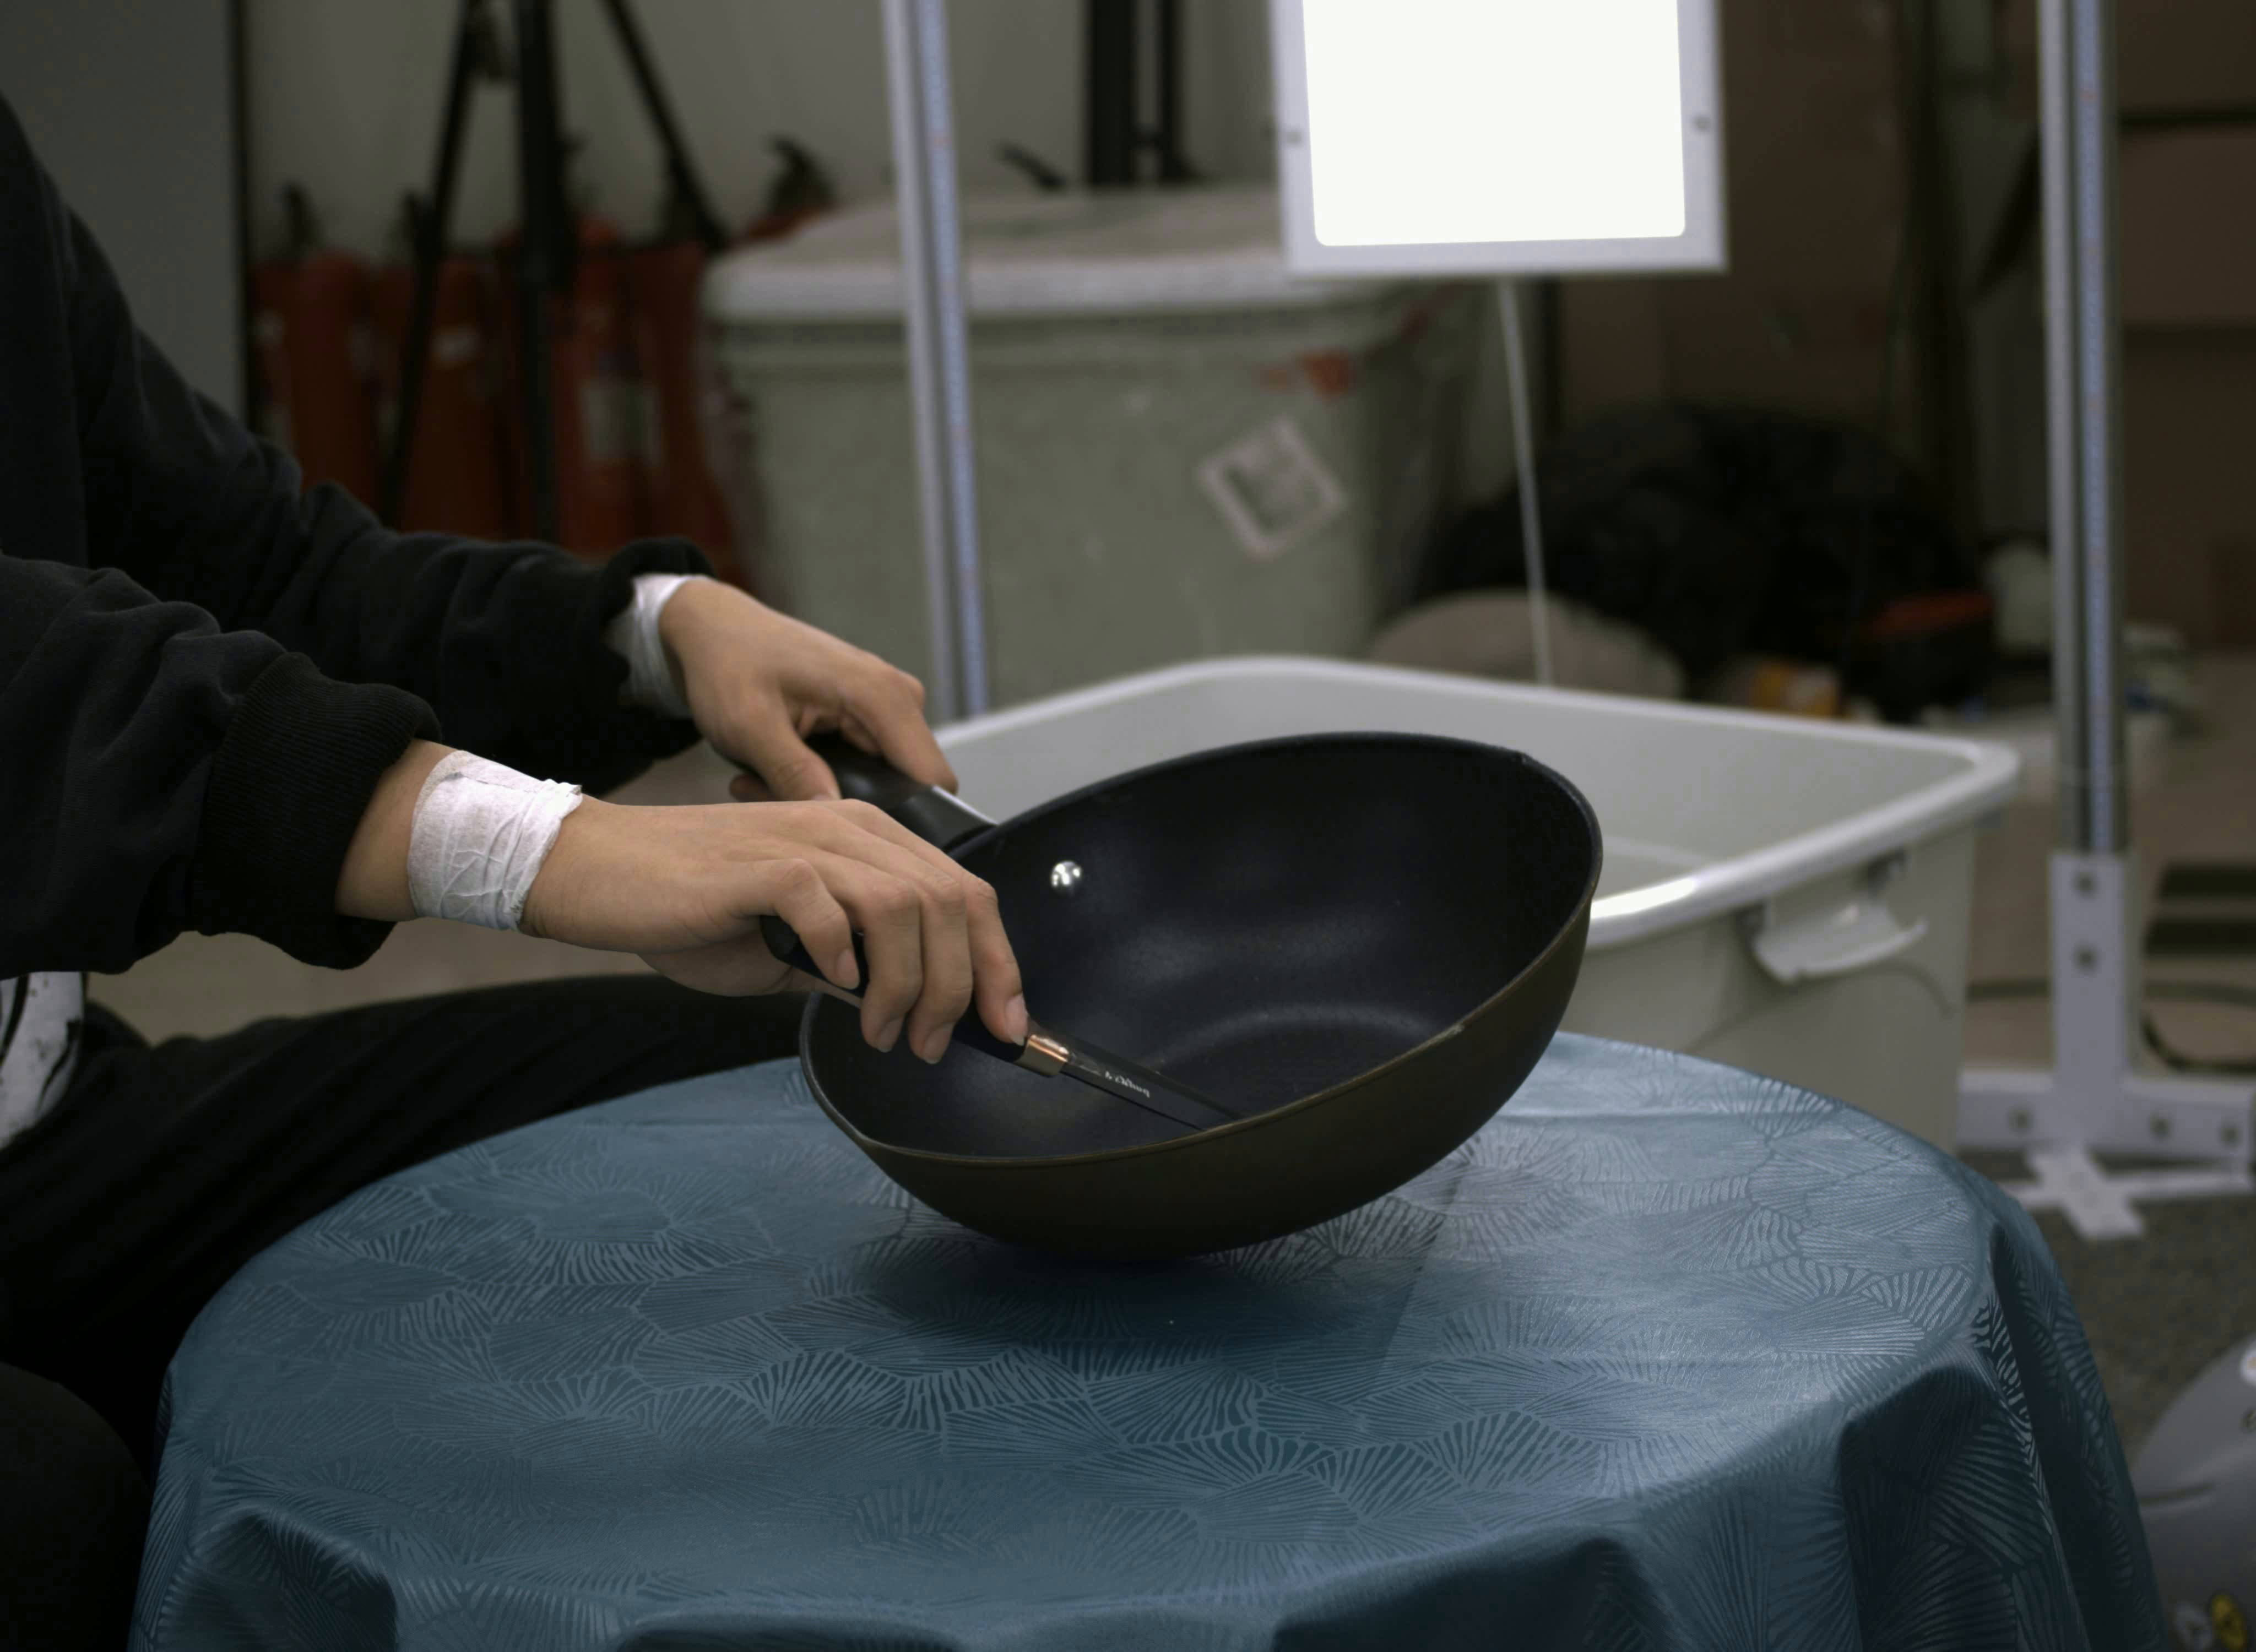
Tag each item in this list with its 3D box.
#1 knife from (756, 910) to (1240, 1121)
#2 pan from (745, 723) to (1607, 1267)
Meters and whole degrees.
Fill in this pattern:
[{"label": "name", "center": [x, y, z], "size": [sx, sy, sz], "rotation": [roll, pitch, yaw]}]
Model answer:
[{"label": "knife", "center": [-0.024, 0.068, 1.713], "size": [0.221, 0.017, 0.026], "rotation": [23, 25, -32]}, {"label": "pan", "center": [-0.015, 0.050, 1.945], "size": [0.283, 0.087, 0.472], "rotation": [-29, 26, -23]}]
